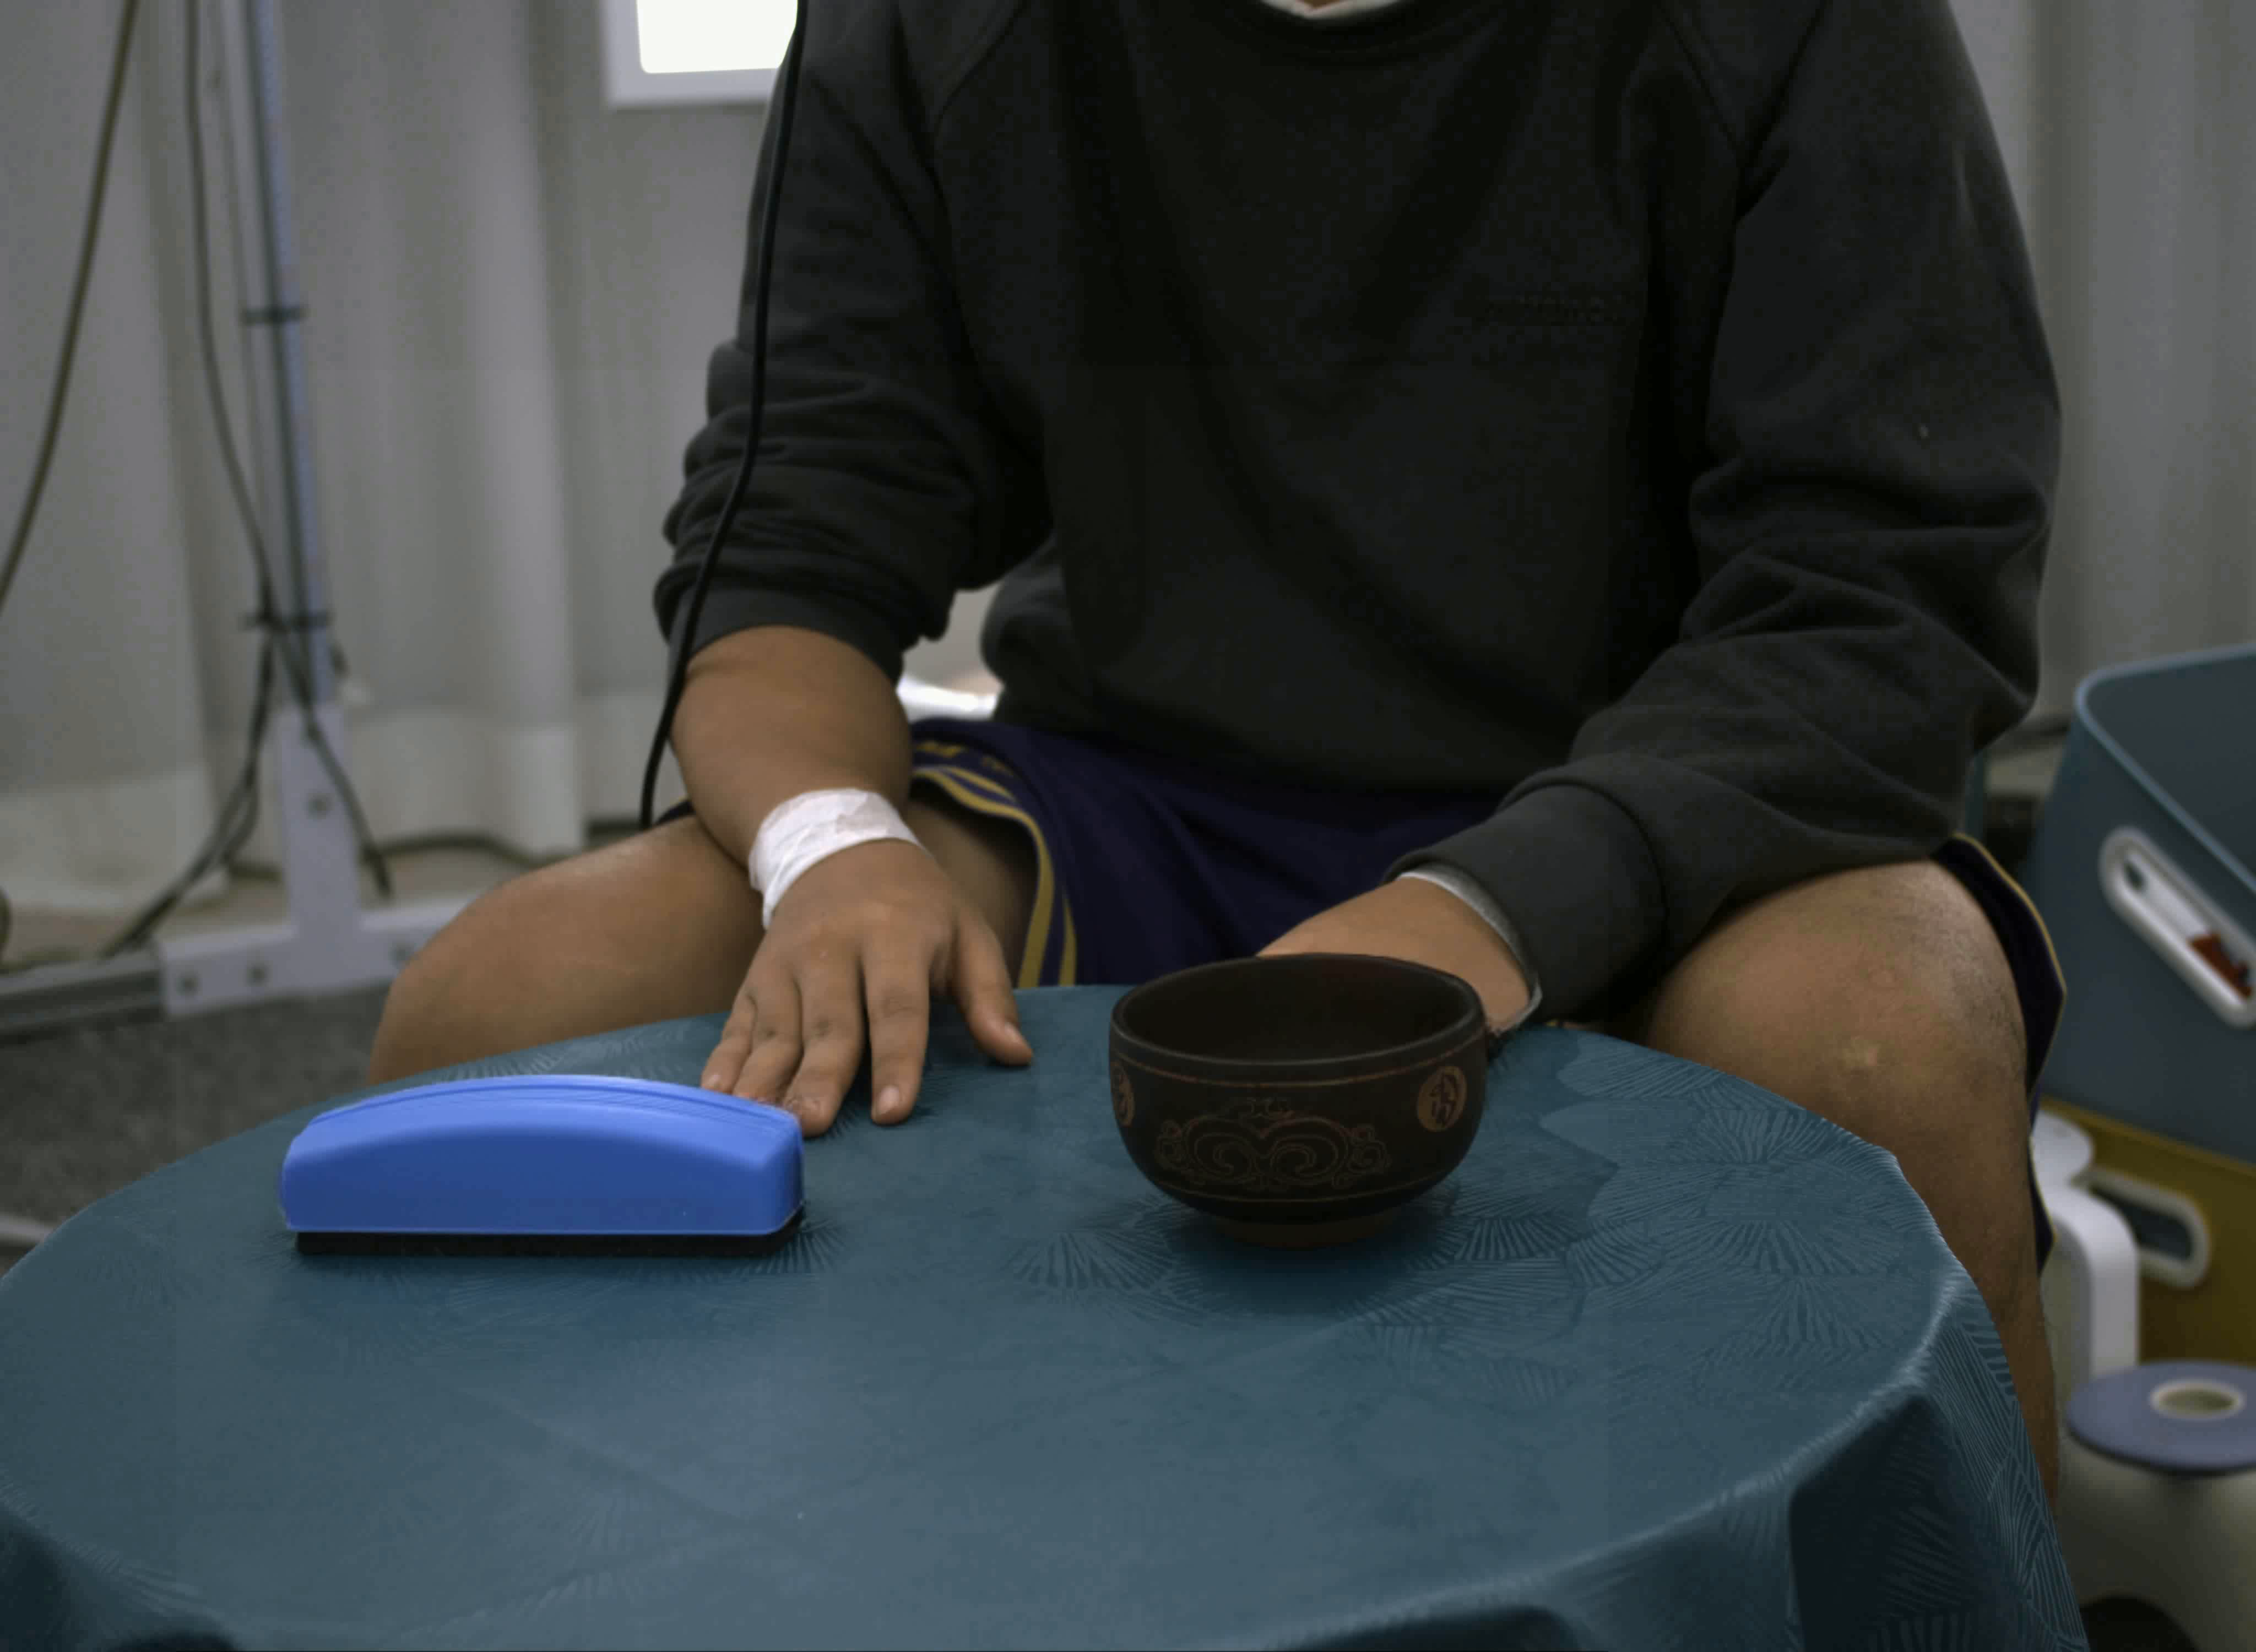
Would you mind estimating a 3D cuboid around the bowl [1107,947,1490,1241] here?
[{"bbox_3d":[0.053,0.086,1.672,0.117,0.069,0.119,-3,14,1],"label":"bowl"}]

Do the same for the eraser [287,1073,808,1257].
[{"bbox_3d":[-0.181,0.105,1.701,0.162,0.047,0.054,0,16,9],"label":"eraser"}]
